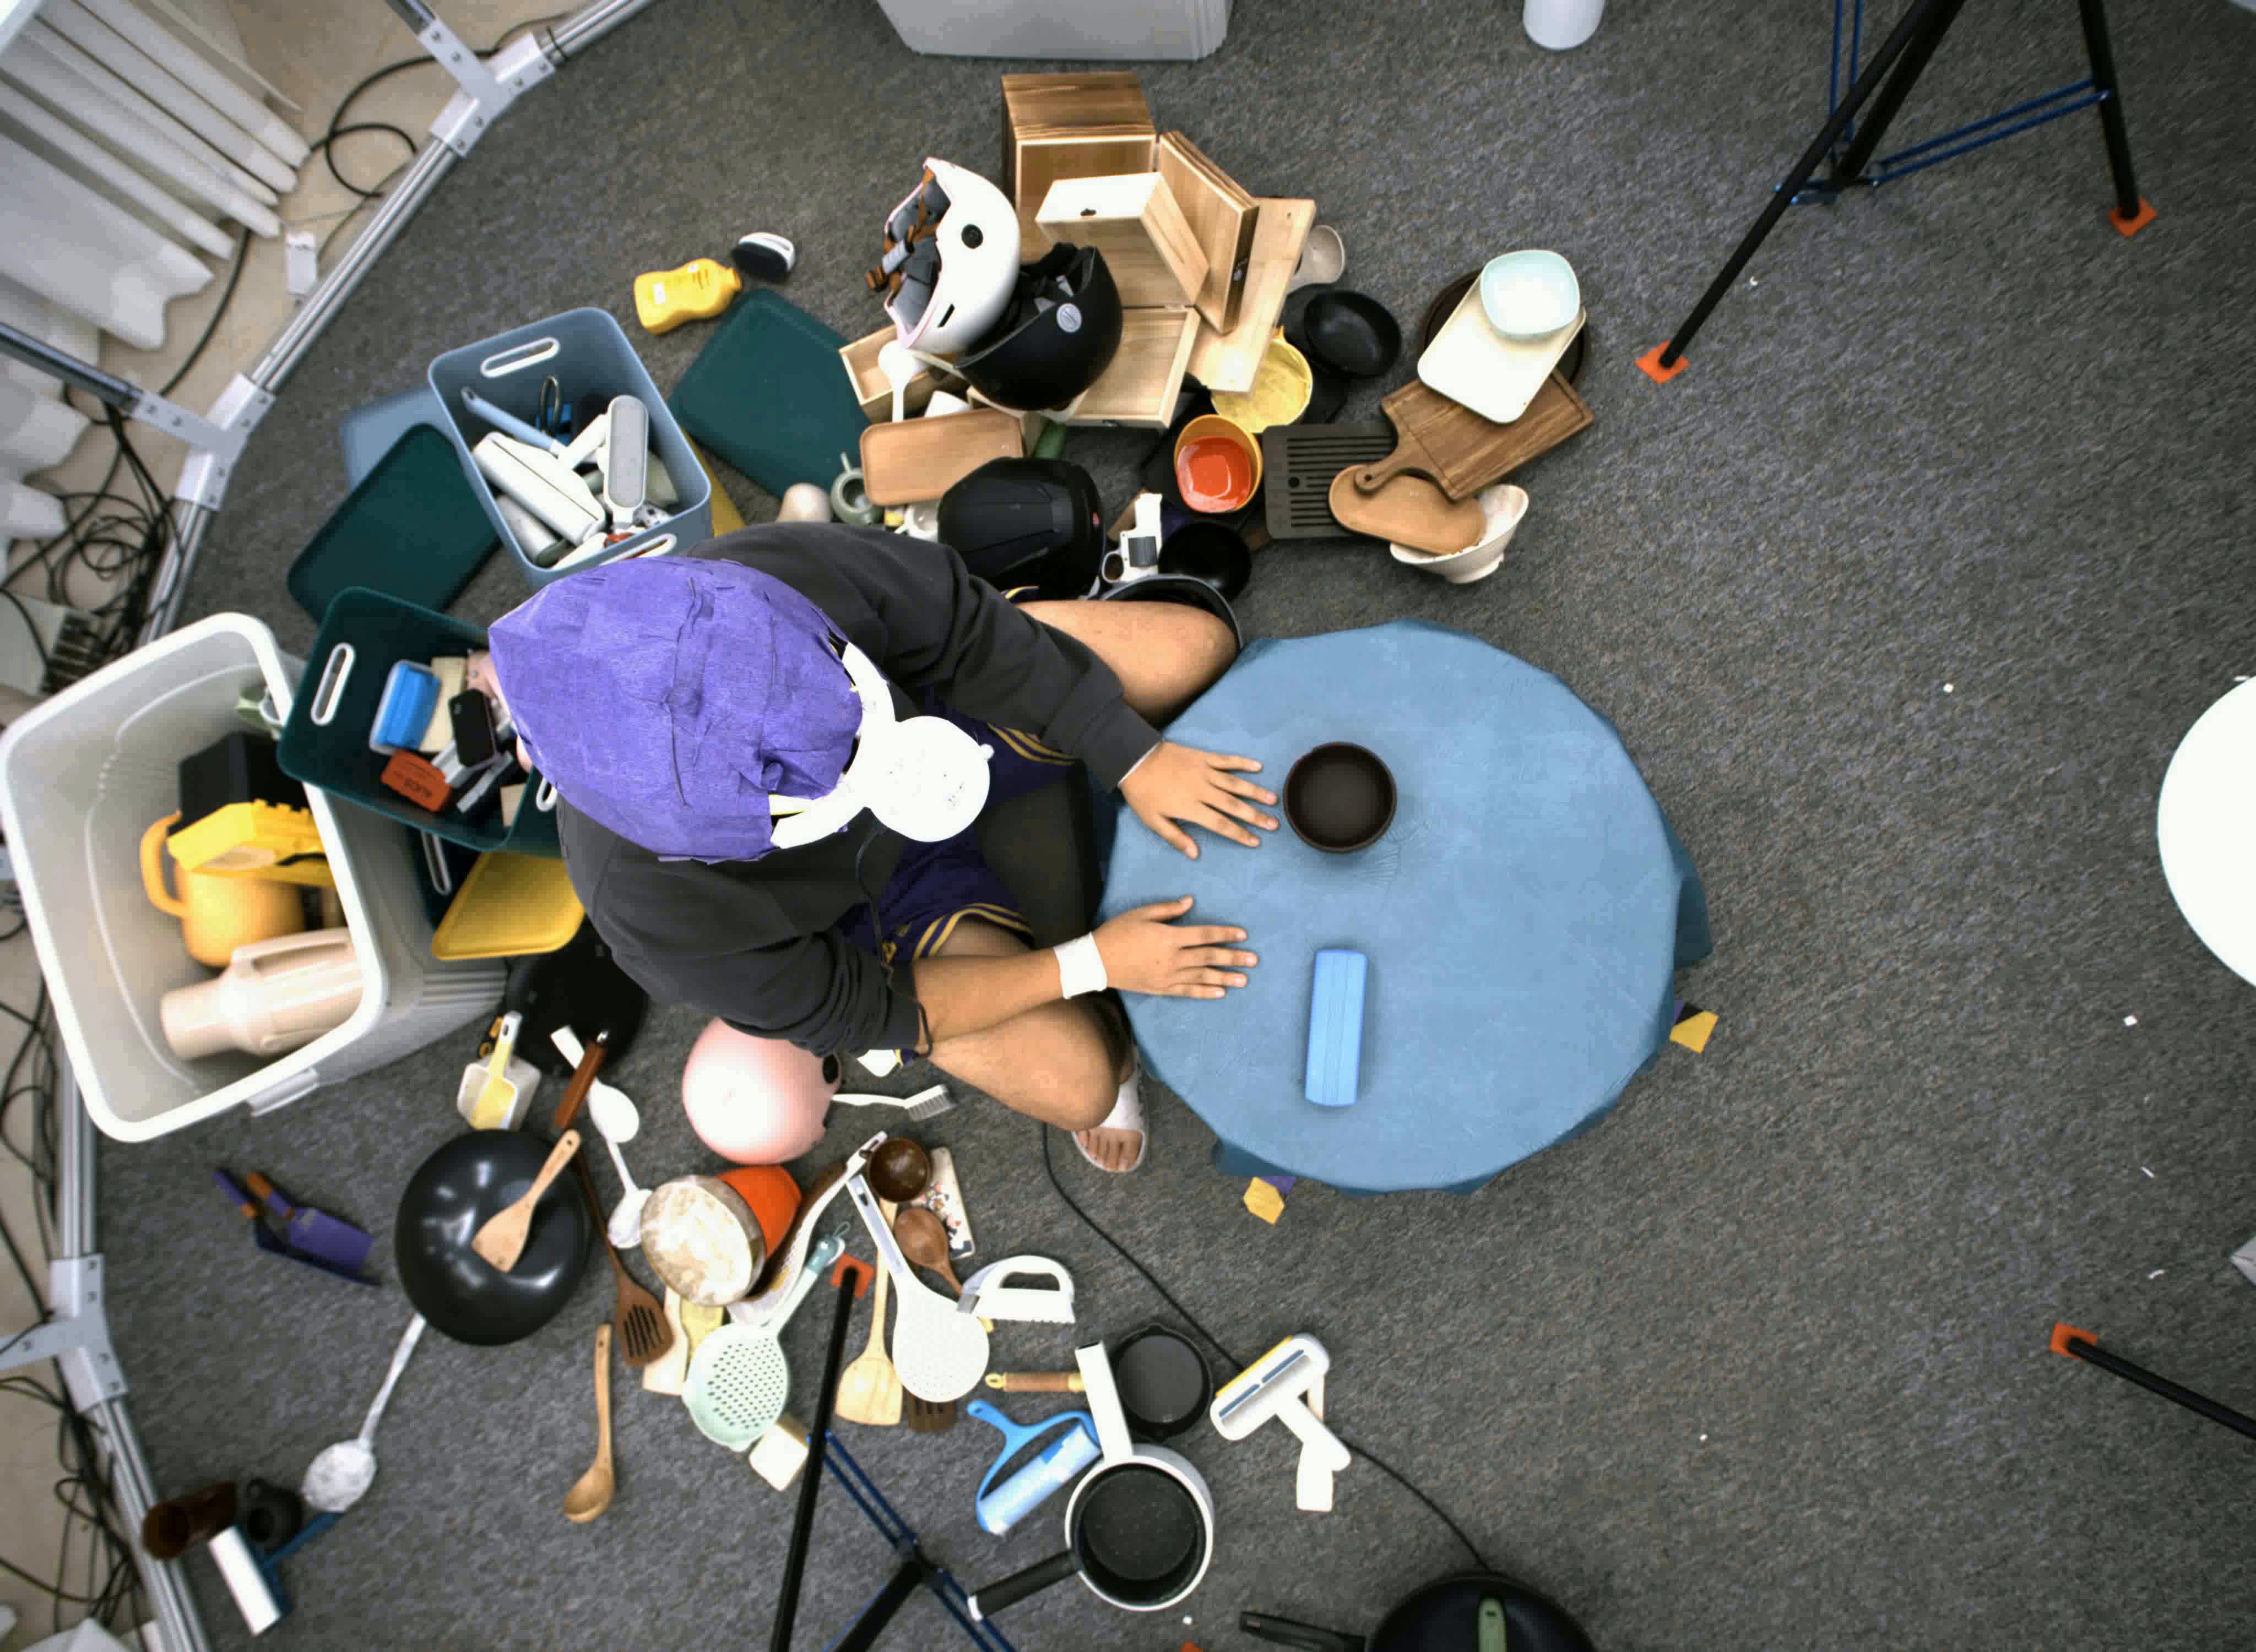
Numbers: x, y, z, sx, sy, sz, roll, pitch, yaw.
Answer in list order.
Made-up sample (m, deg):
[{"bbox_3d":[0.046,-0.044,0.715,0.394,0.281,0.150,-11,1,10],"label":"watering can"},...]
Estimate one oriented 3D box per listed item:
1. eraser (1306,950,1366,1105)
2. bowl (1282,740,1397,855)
[{"bbox_3d":[0.216,0.208,1.438,0.054,0.047,0.161,4,87,9],"label":"eraser"},{"bbox_3d":[0.221,-0.028,1.436,0.118,0.070,0.117,-1,87,11],"label":"bowl"}]
